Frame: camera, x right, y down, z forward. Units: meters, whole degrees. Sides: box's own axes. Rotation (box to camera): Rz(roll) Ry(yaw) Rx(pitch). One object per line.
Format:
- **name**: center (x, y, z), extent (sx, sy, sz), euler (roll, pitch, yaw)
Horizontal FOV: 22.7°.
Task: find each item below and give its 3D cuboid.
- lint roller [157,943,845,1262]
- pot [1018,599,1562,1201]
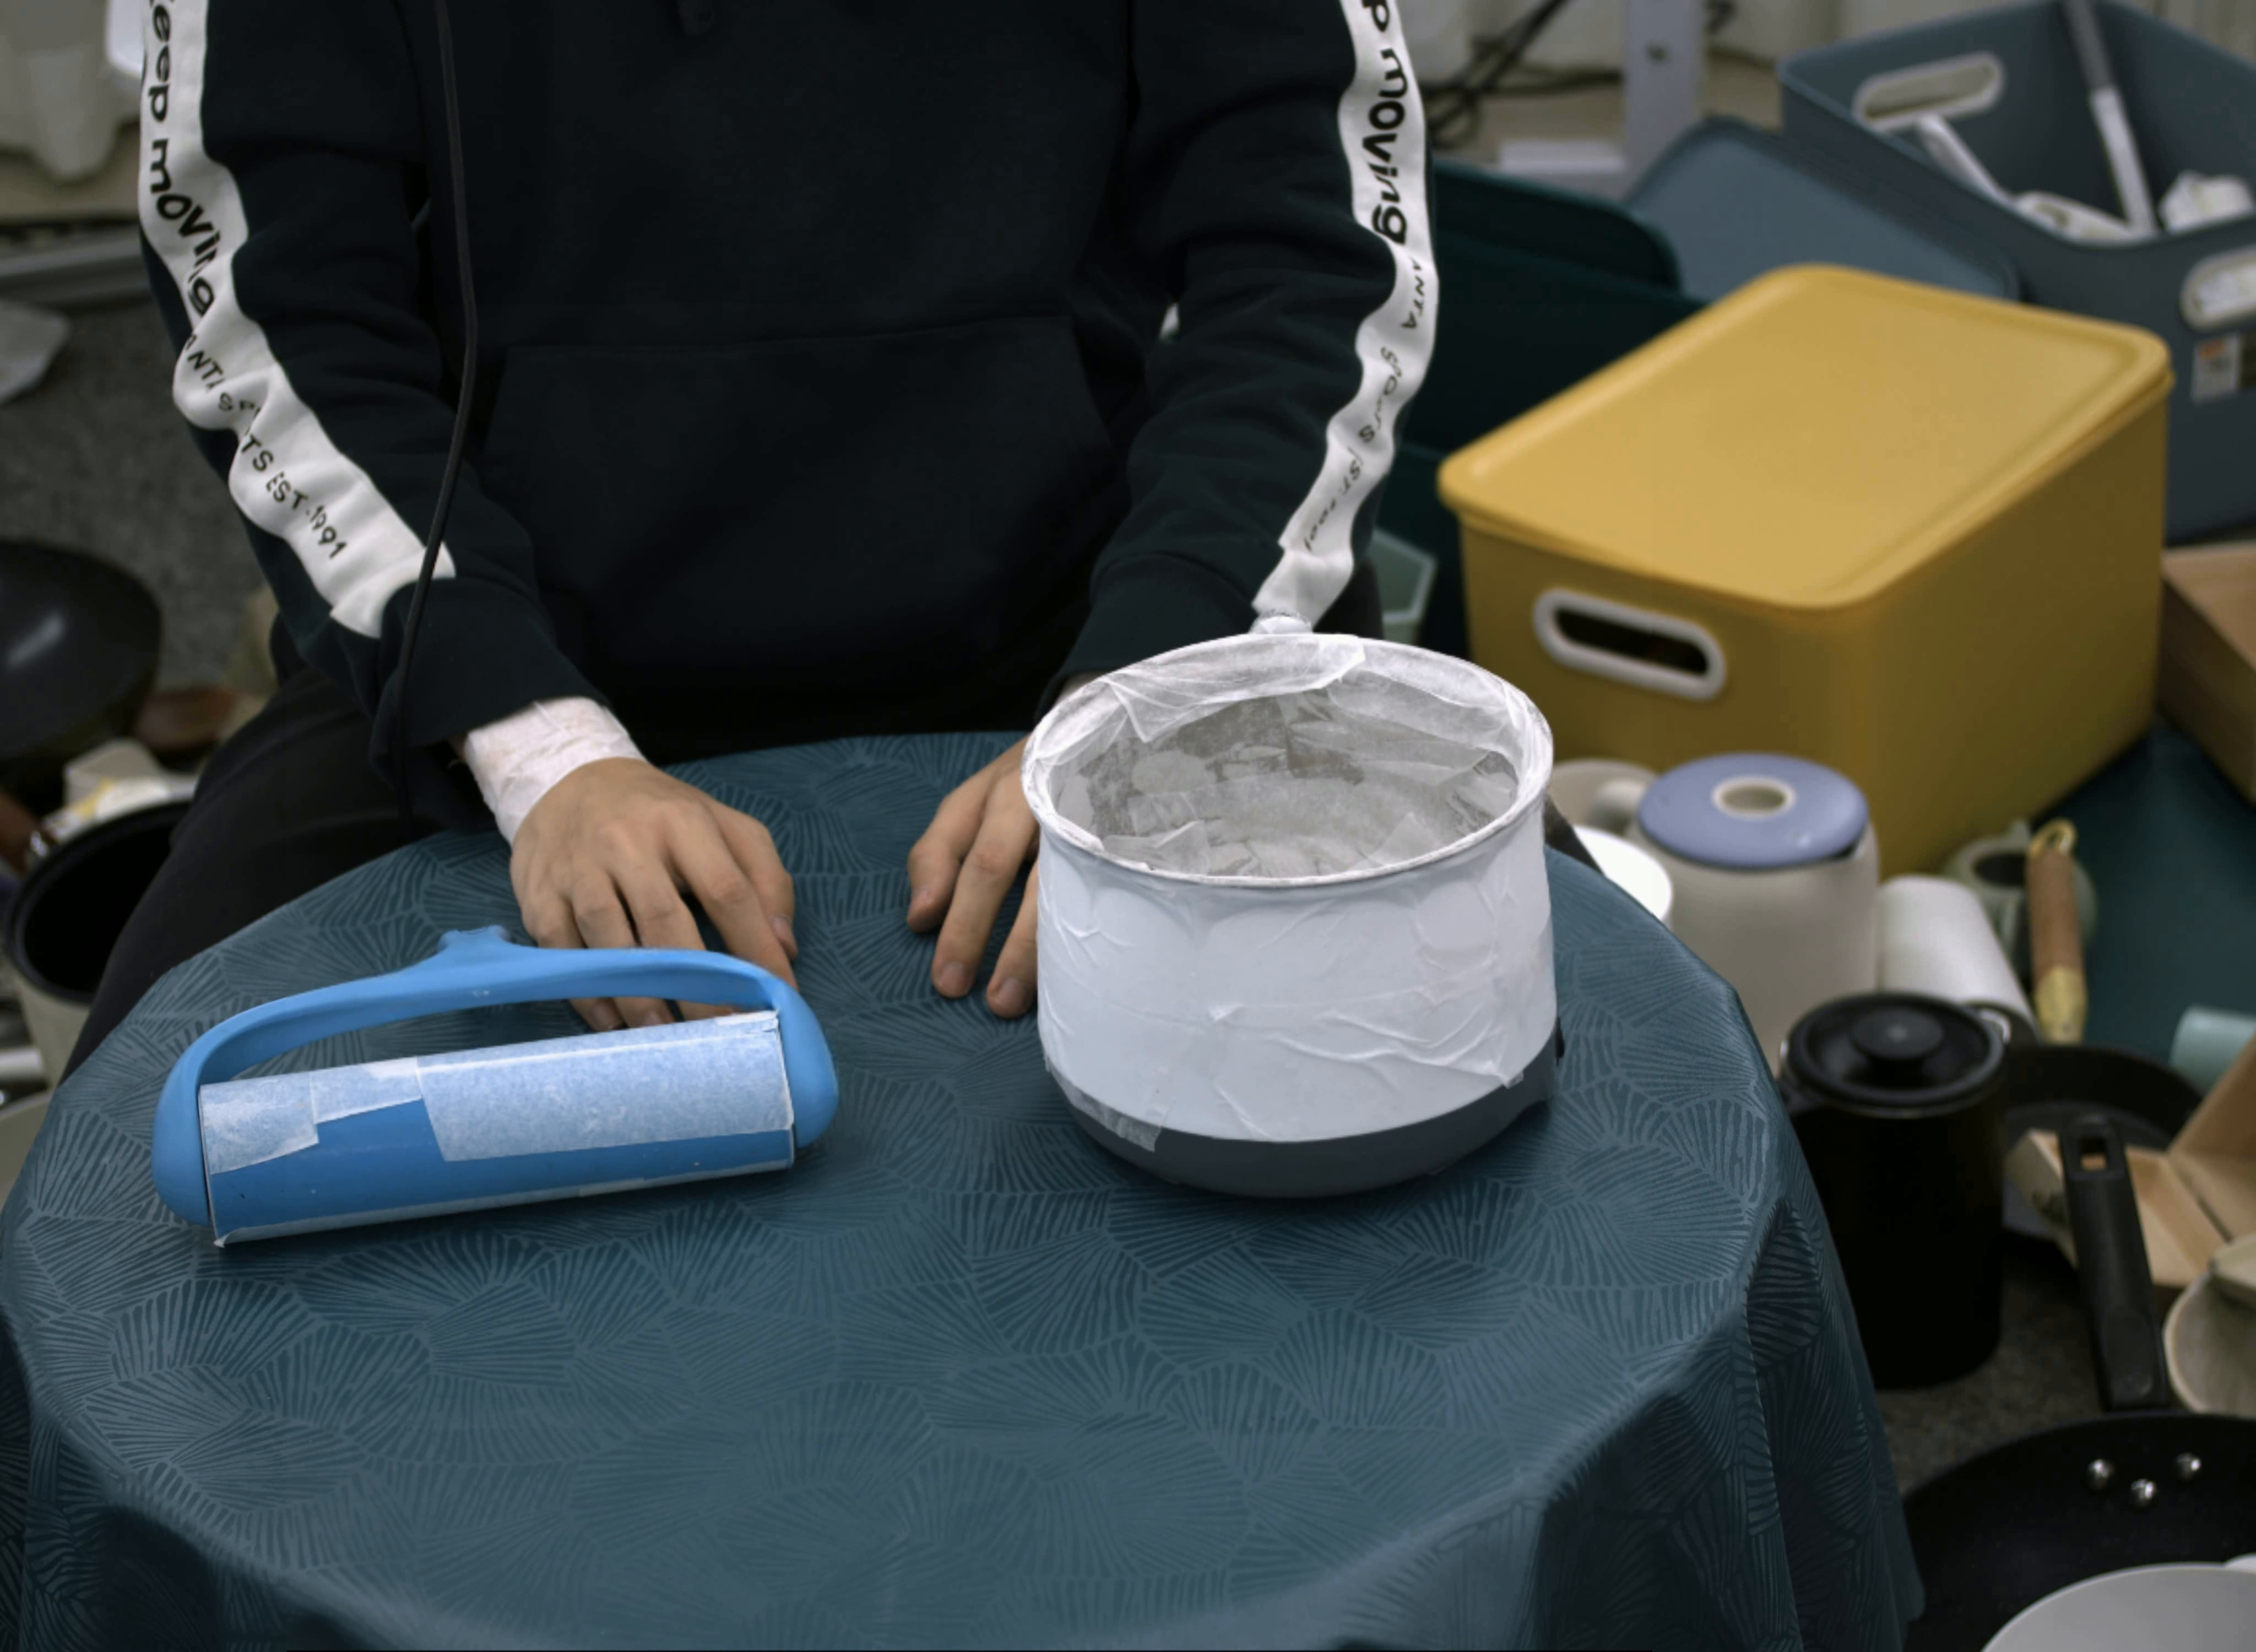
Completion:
- **lint roller**: center (-0.221, 0.075, 1.912), extent (0.229, 0.067, 0.182), euler (-11, 29, -11)
- **pot**: center (0.055, 0.017, 1.904), extent (0.178, 0.135, 0.237), euler (-3, 29, 0)
